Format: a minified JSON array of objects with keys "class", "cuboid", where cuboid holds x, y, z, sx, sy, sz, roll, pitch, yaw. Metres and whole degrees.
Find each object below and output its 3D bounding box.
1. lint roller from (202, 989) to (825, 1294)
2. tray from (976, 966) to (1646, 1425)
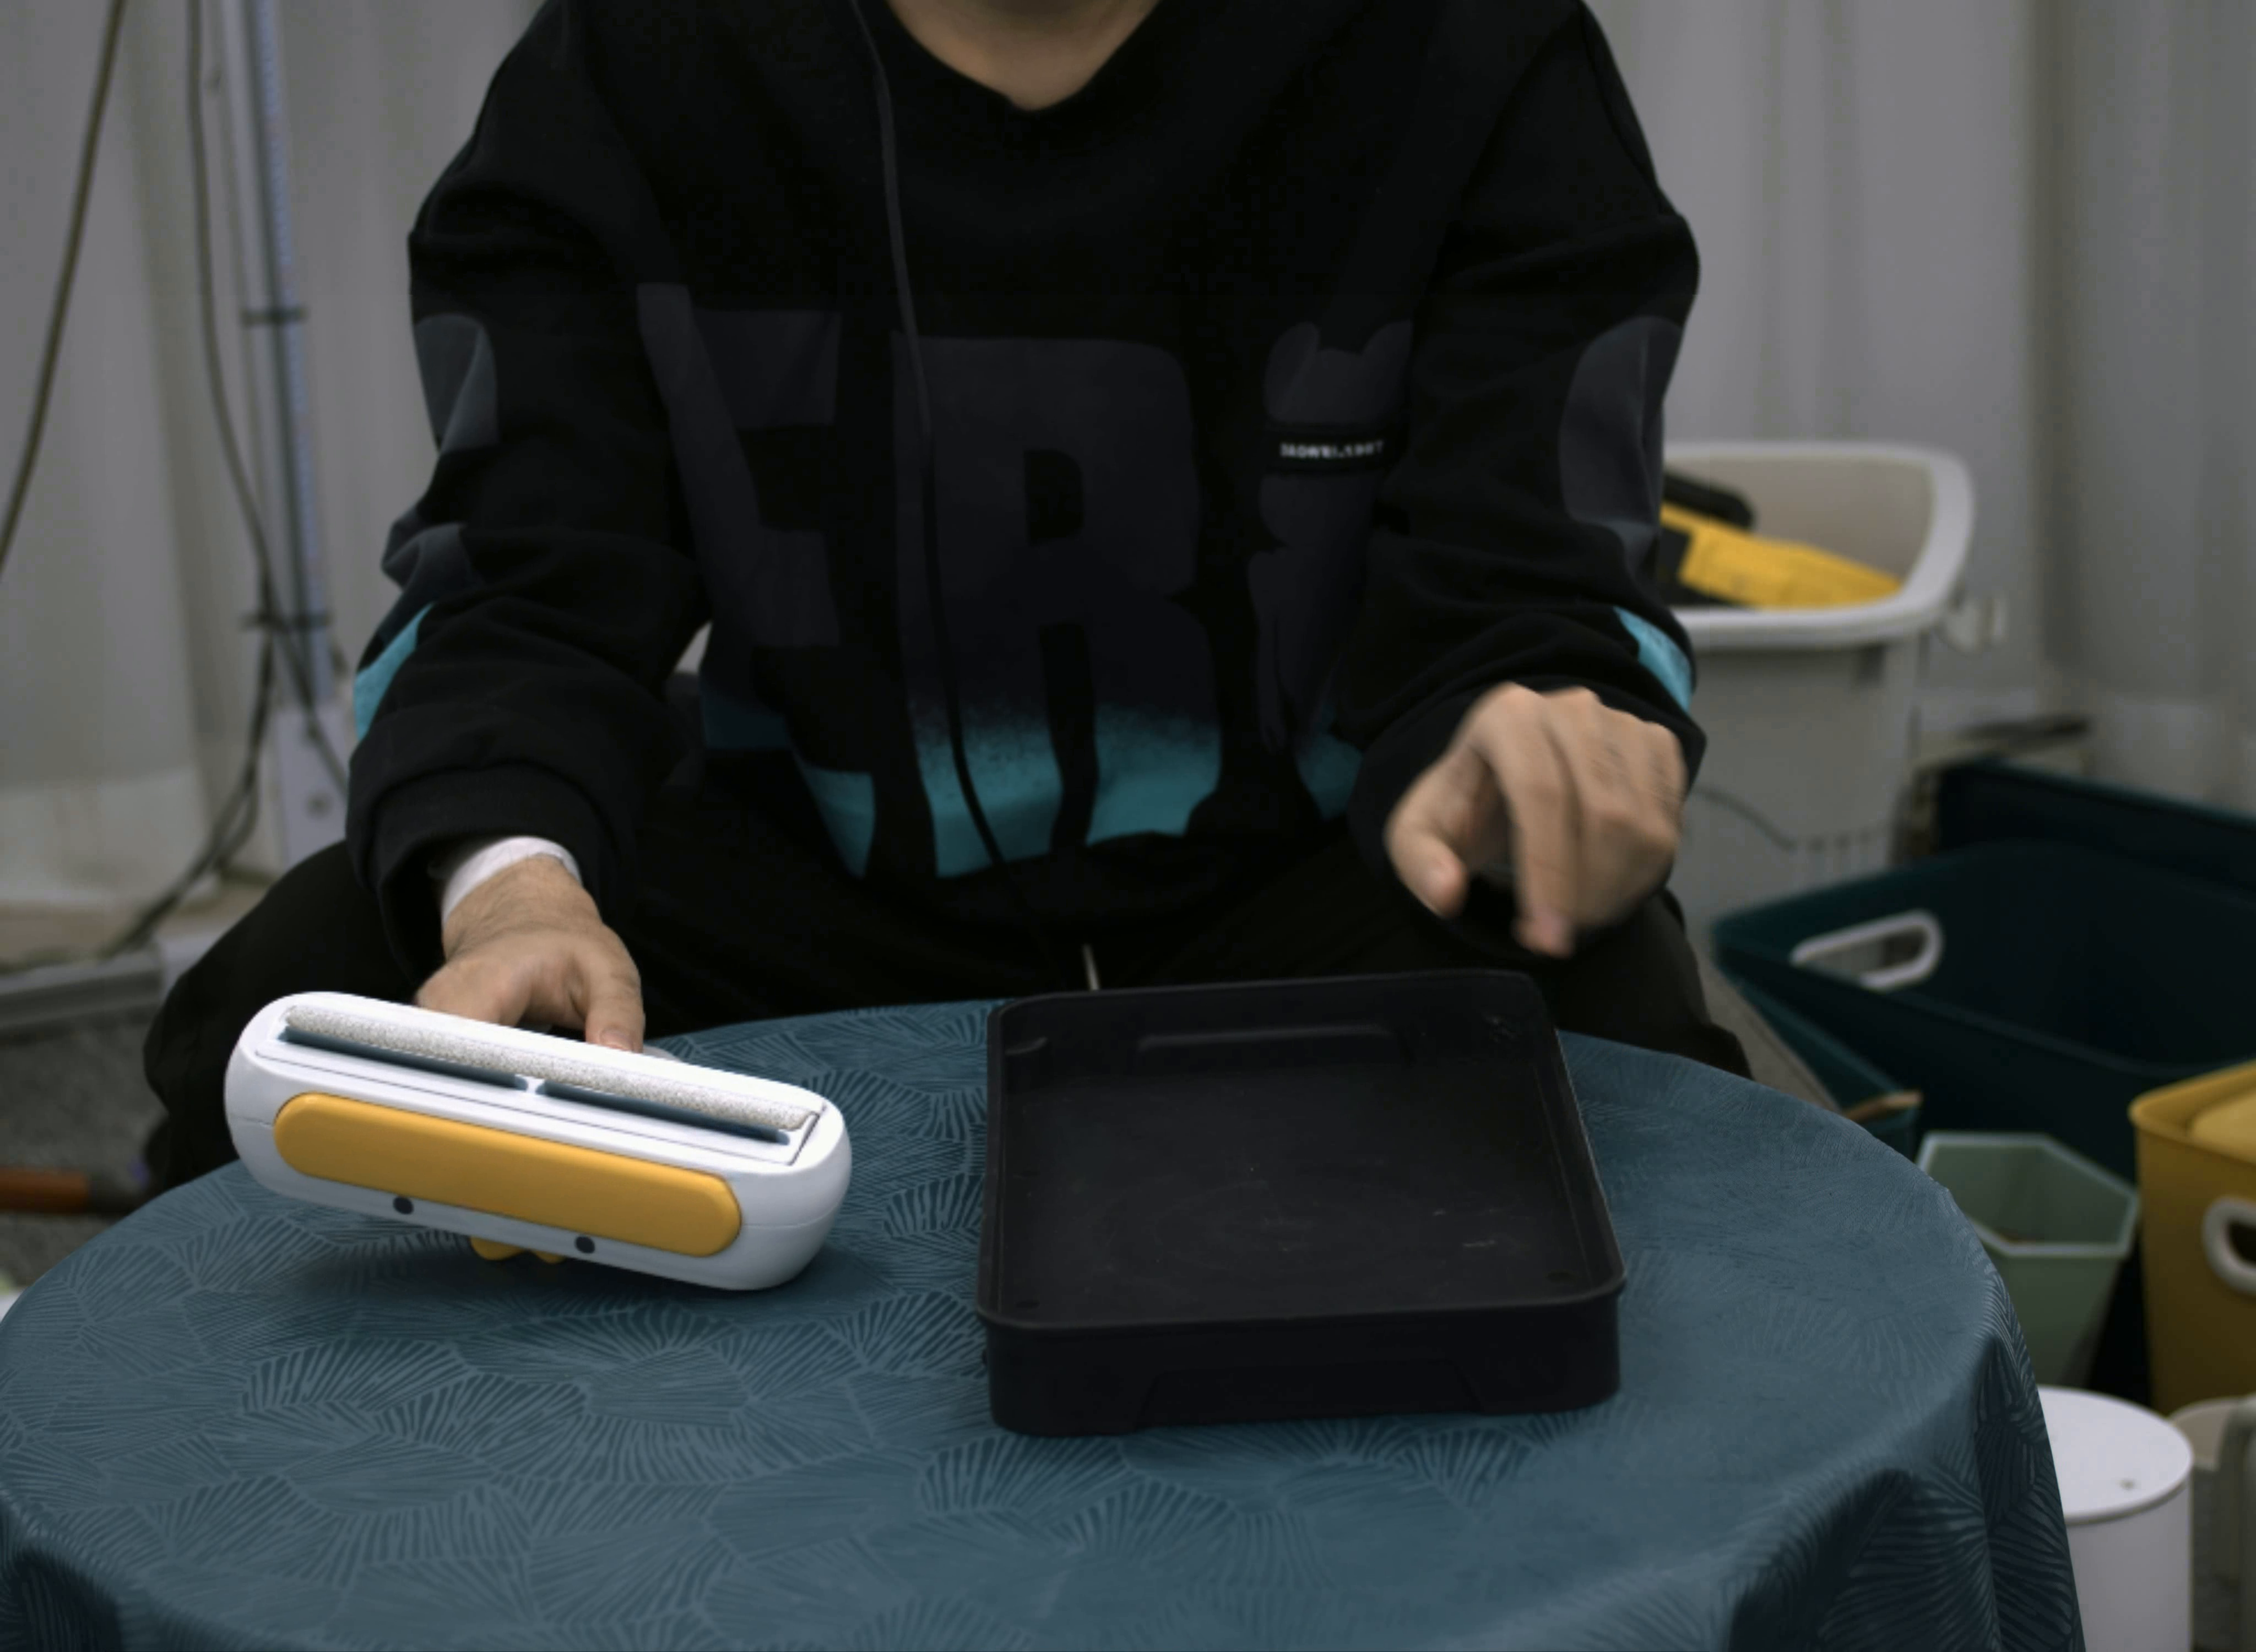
[{"class":"lint roller","cuboid":[-0.173,0.088,1.720,0.193,0.074,0.193,8,15,13]},{"class":"tray","cuboid":[0.048,0.107,1.662,0.183,0.037,0.320,-3,15,-2]}]
